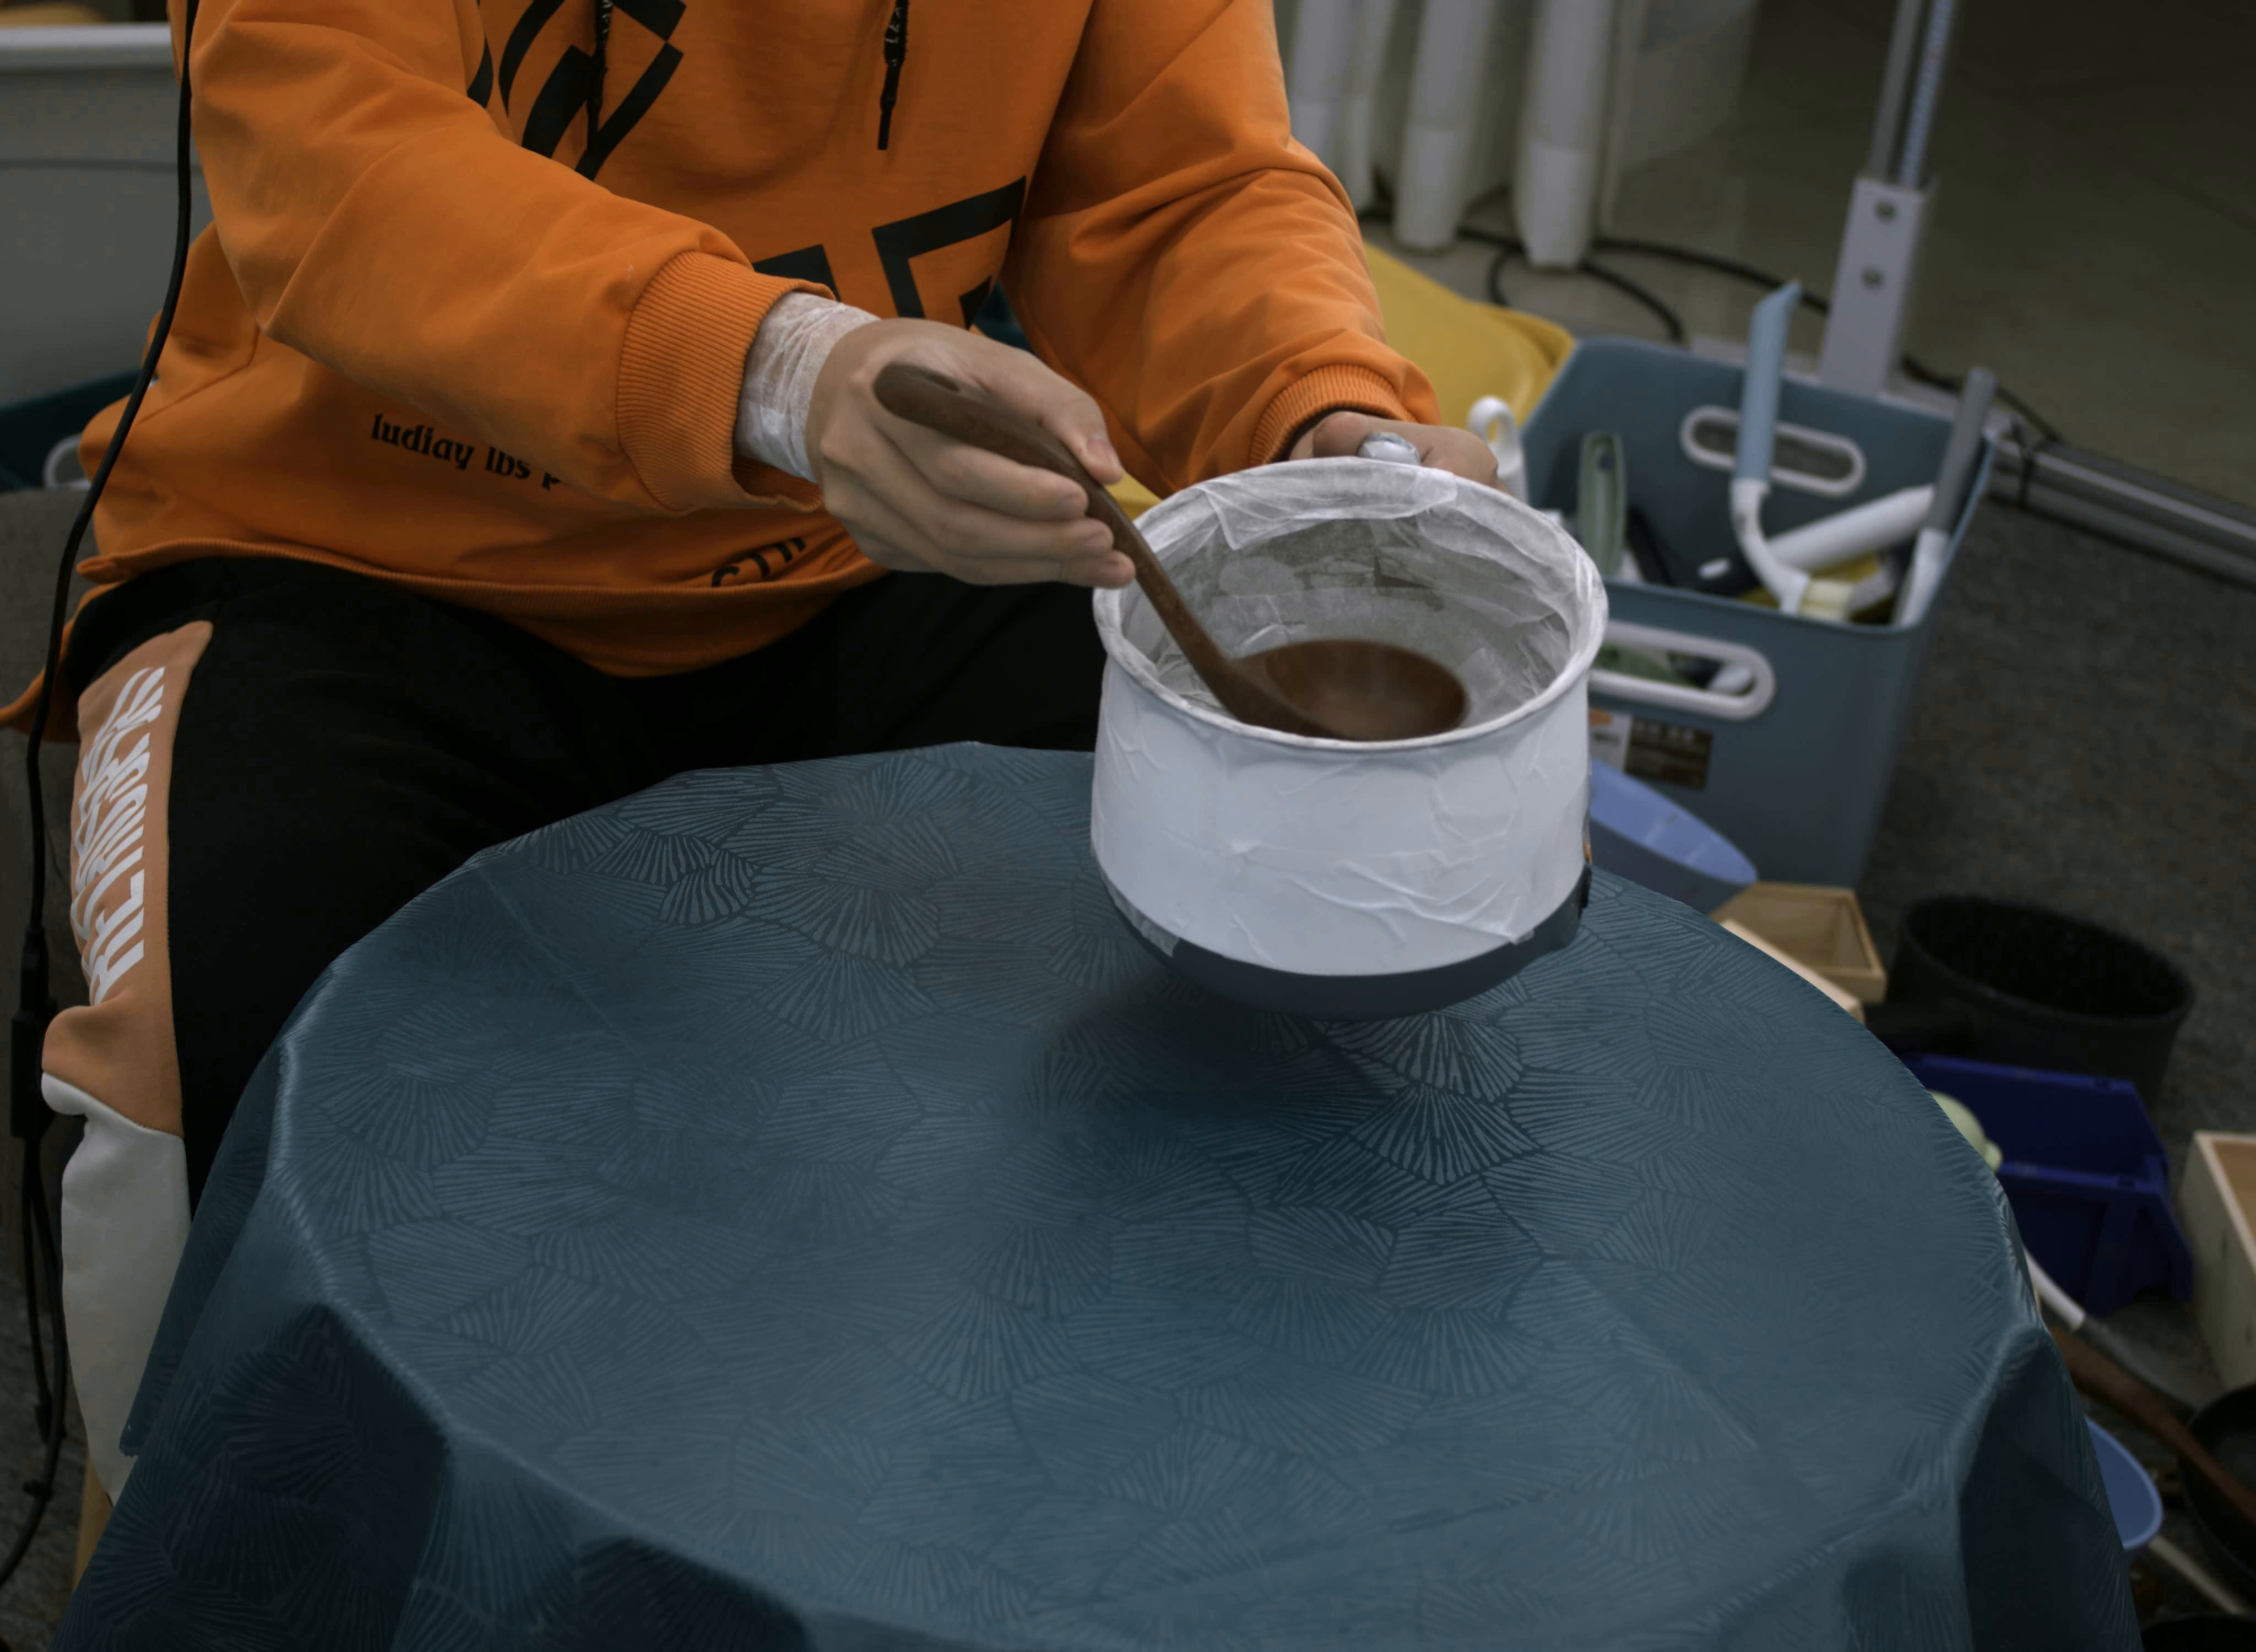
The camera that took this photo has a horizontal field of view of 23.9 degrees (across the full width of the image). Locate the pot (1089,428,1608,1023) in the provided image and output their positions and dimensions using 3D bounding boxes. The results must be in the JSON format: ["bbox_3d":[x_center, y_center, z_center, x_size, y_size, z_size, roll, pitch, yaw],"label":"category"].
[{"bbox_3d":[0.078,-0.044,1.880,0.178,0.136,0.235,5,37,6],"label":"pot"}]

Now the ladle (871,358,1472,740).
[{"bbox_3d":[0.018,-0.094,1.792,0.258,0.065,0.077,41,9,-33],"label":"ladle"}]
